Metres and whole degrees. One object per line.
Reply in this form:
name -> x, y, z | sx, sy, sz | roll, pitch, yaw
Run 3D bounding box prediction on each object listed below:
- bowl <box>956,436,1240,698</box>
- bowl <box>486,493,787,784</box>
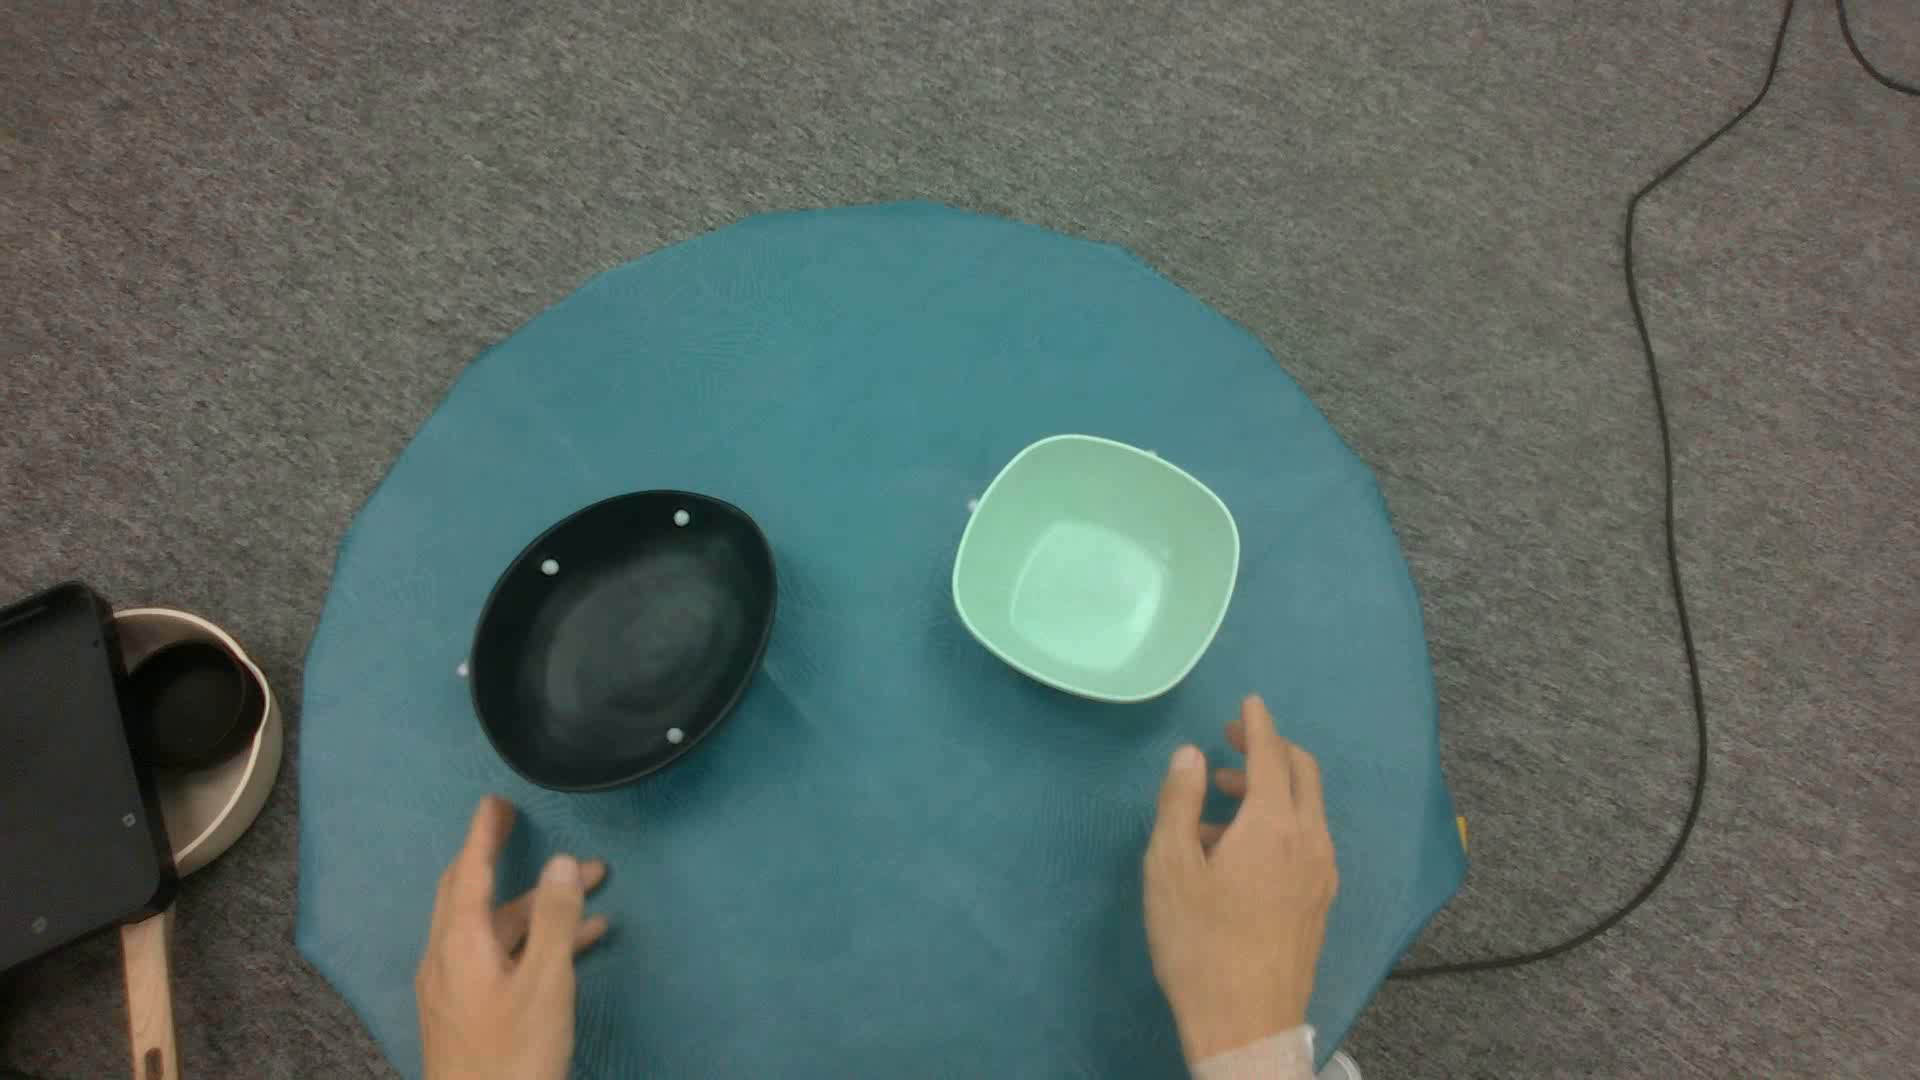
bowl -> 0.073, 0.021, 0.736 | 0.151, 0.058, 0.152 | -1, 65, 2
bowl -> -0.163, 0.054, 0.721 | 0.137, 0.066, 0.171 | 29, 69, 12
